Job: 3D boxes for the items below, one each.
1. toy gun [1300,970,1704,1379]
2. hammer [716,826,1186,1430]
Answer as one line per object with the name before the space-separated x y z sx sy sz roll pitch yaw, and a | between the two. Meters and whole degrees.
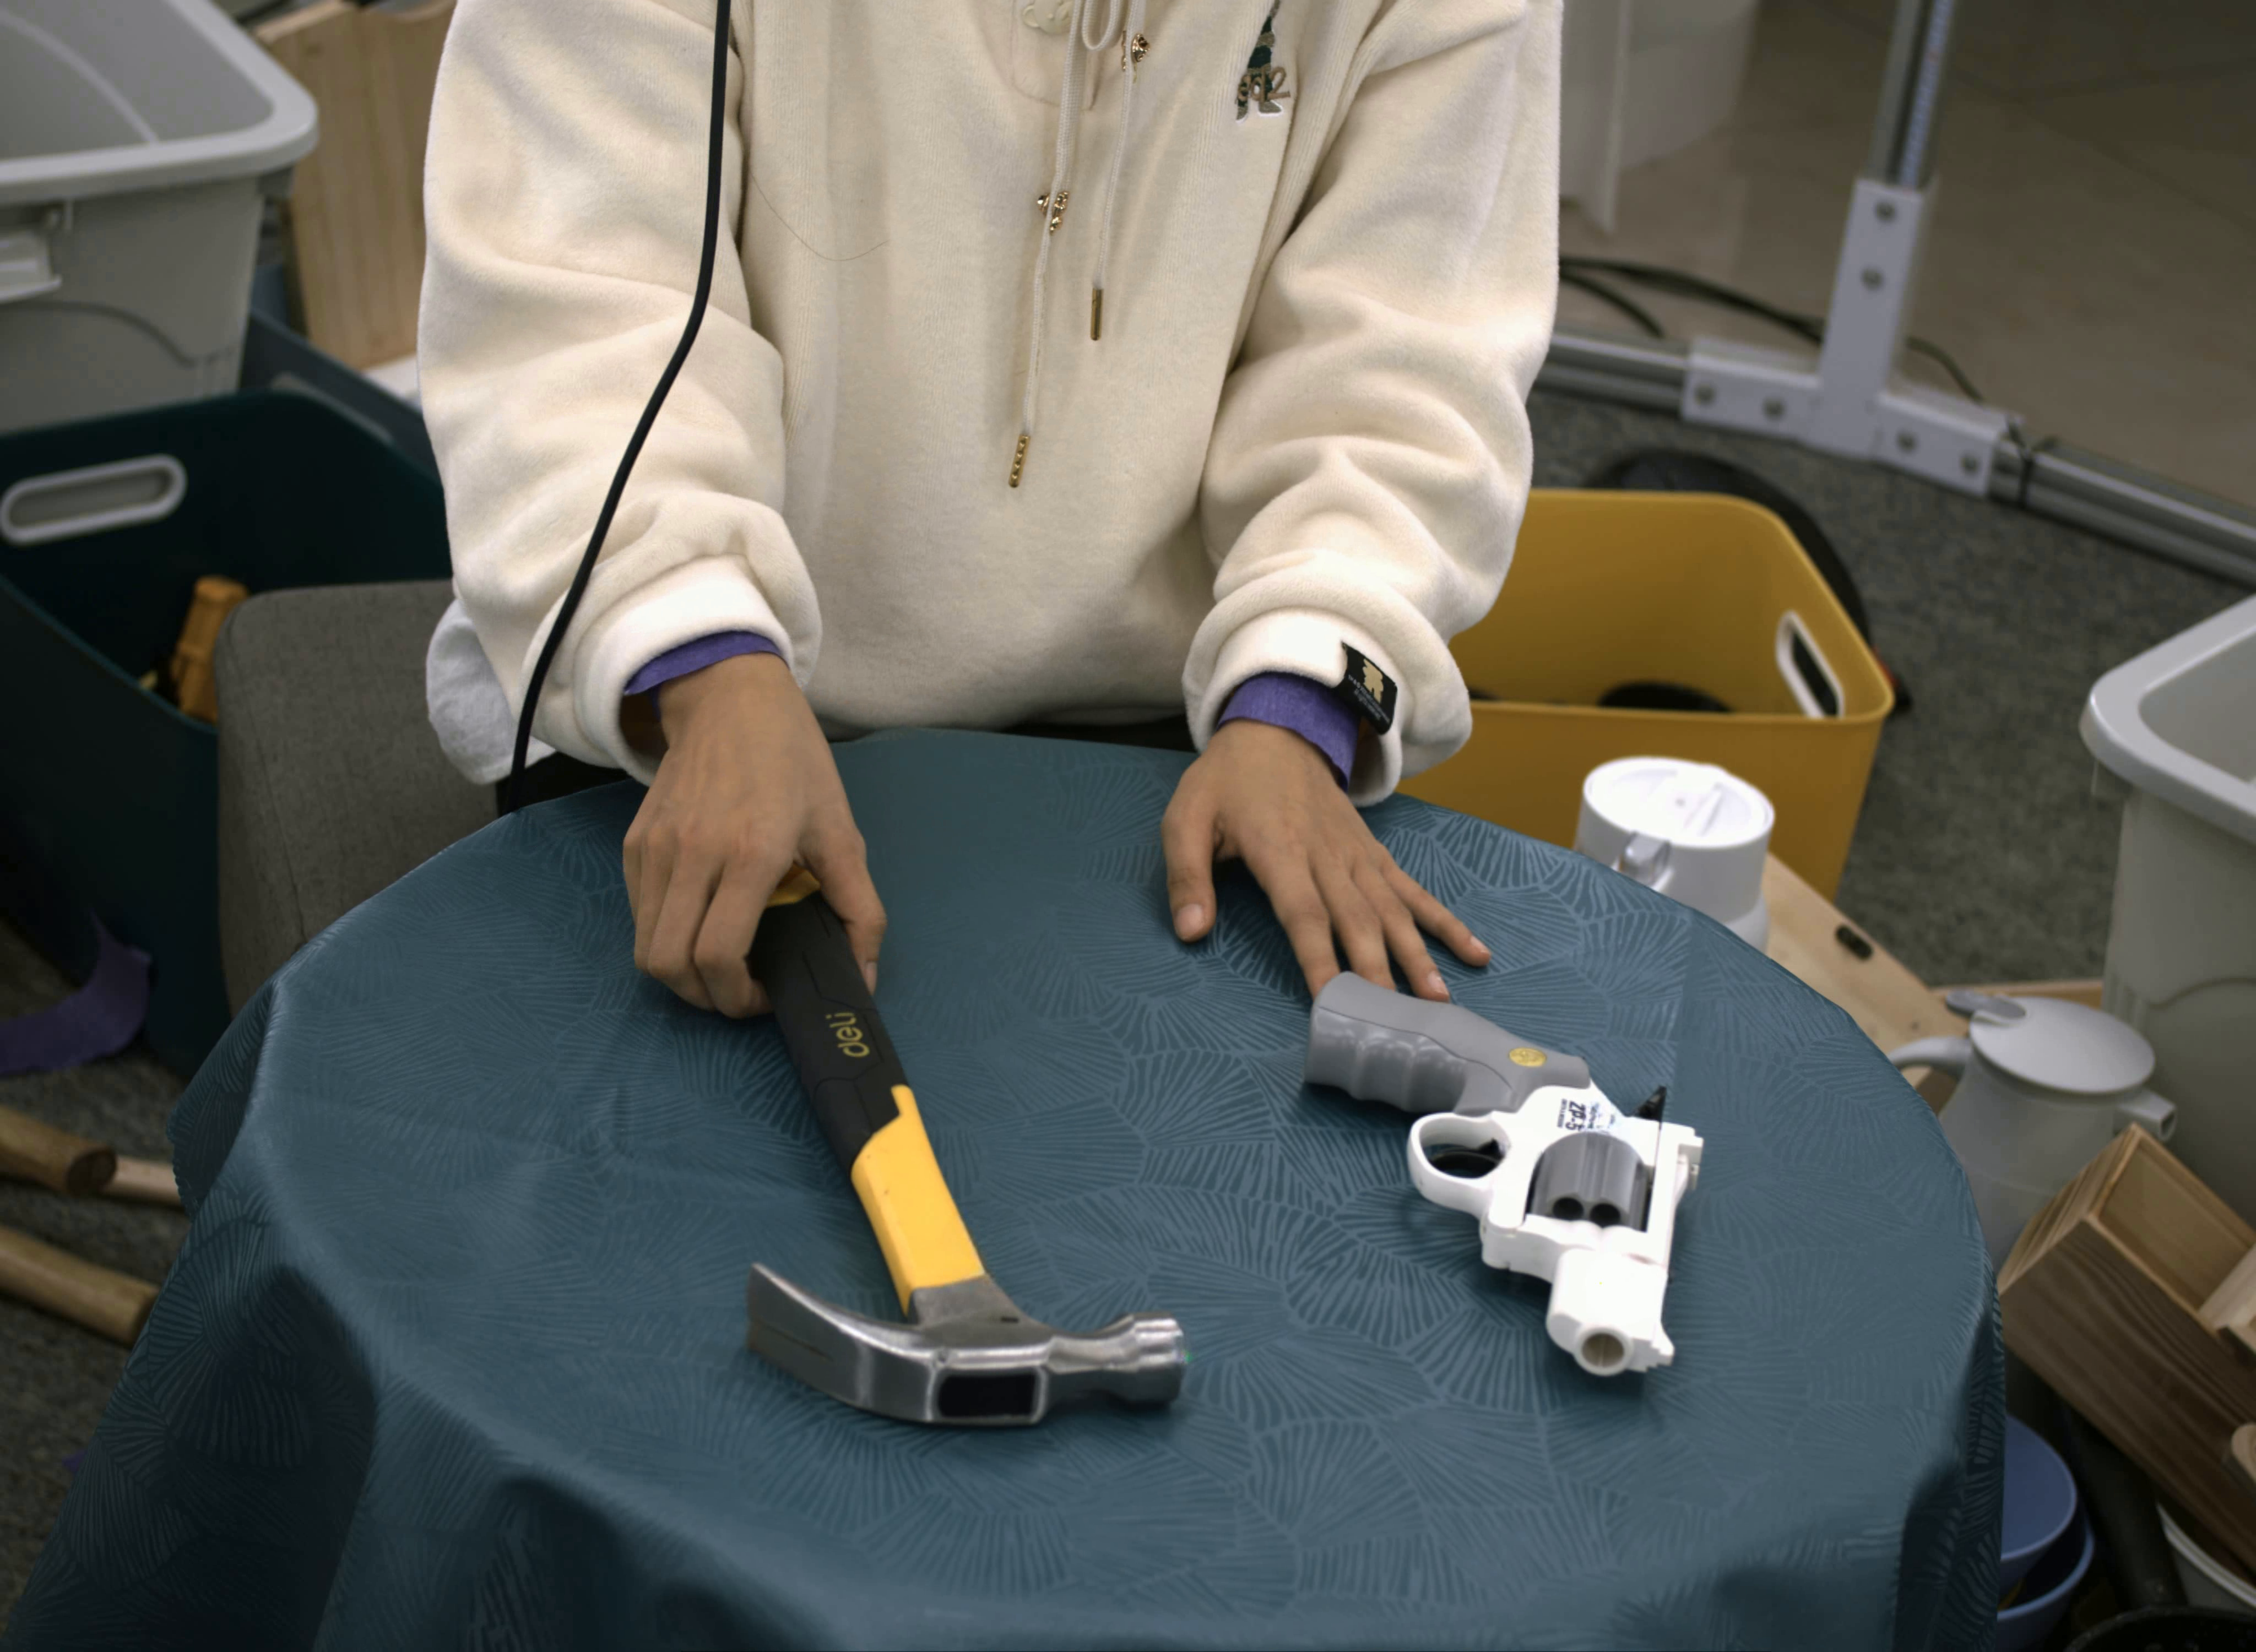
toy gun | 0.123 0.115 1.803 0.141 0.038 0.210 9 27 3
hammer | -0.087 0.094 1.795 0.130 0.032 0.341 -4 31 -15
